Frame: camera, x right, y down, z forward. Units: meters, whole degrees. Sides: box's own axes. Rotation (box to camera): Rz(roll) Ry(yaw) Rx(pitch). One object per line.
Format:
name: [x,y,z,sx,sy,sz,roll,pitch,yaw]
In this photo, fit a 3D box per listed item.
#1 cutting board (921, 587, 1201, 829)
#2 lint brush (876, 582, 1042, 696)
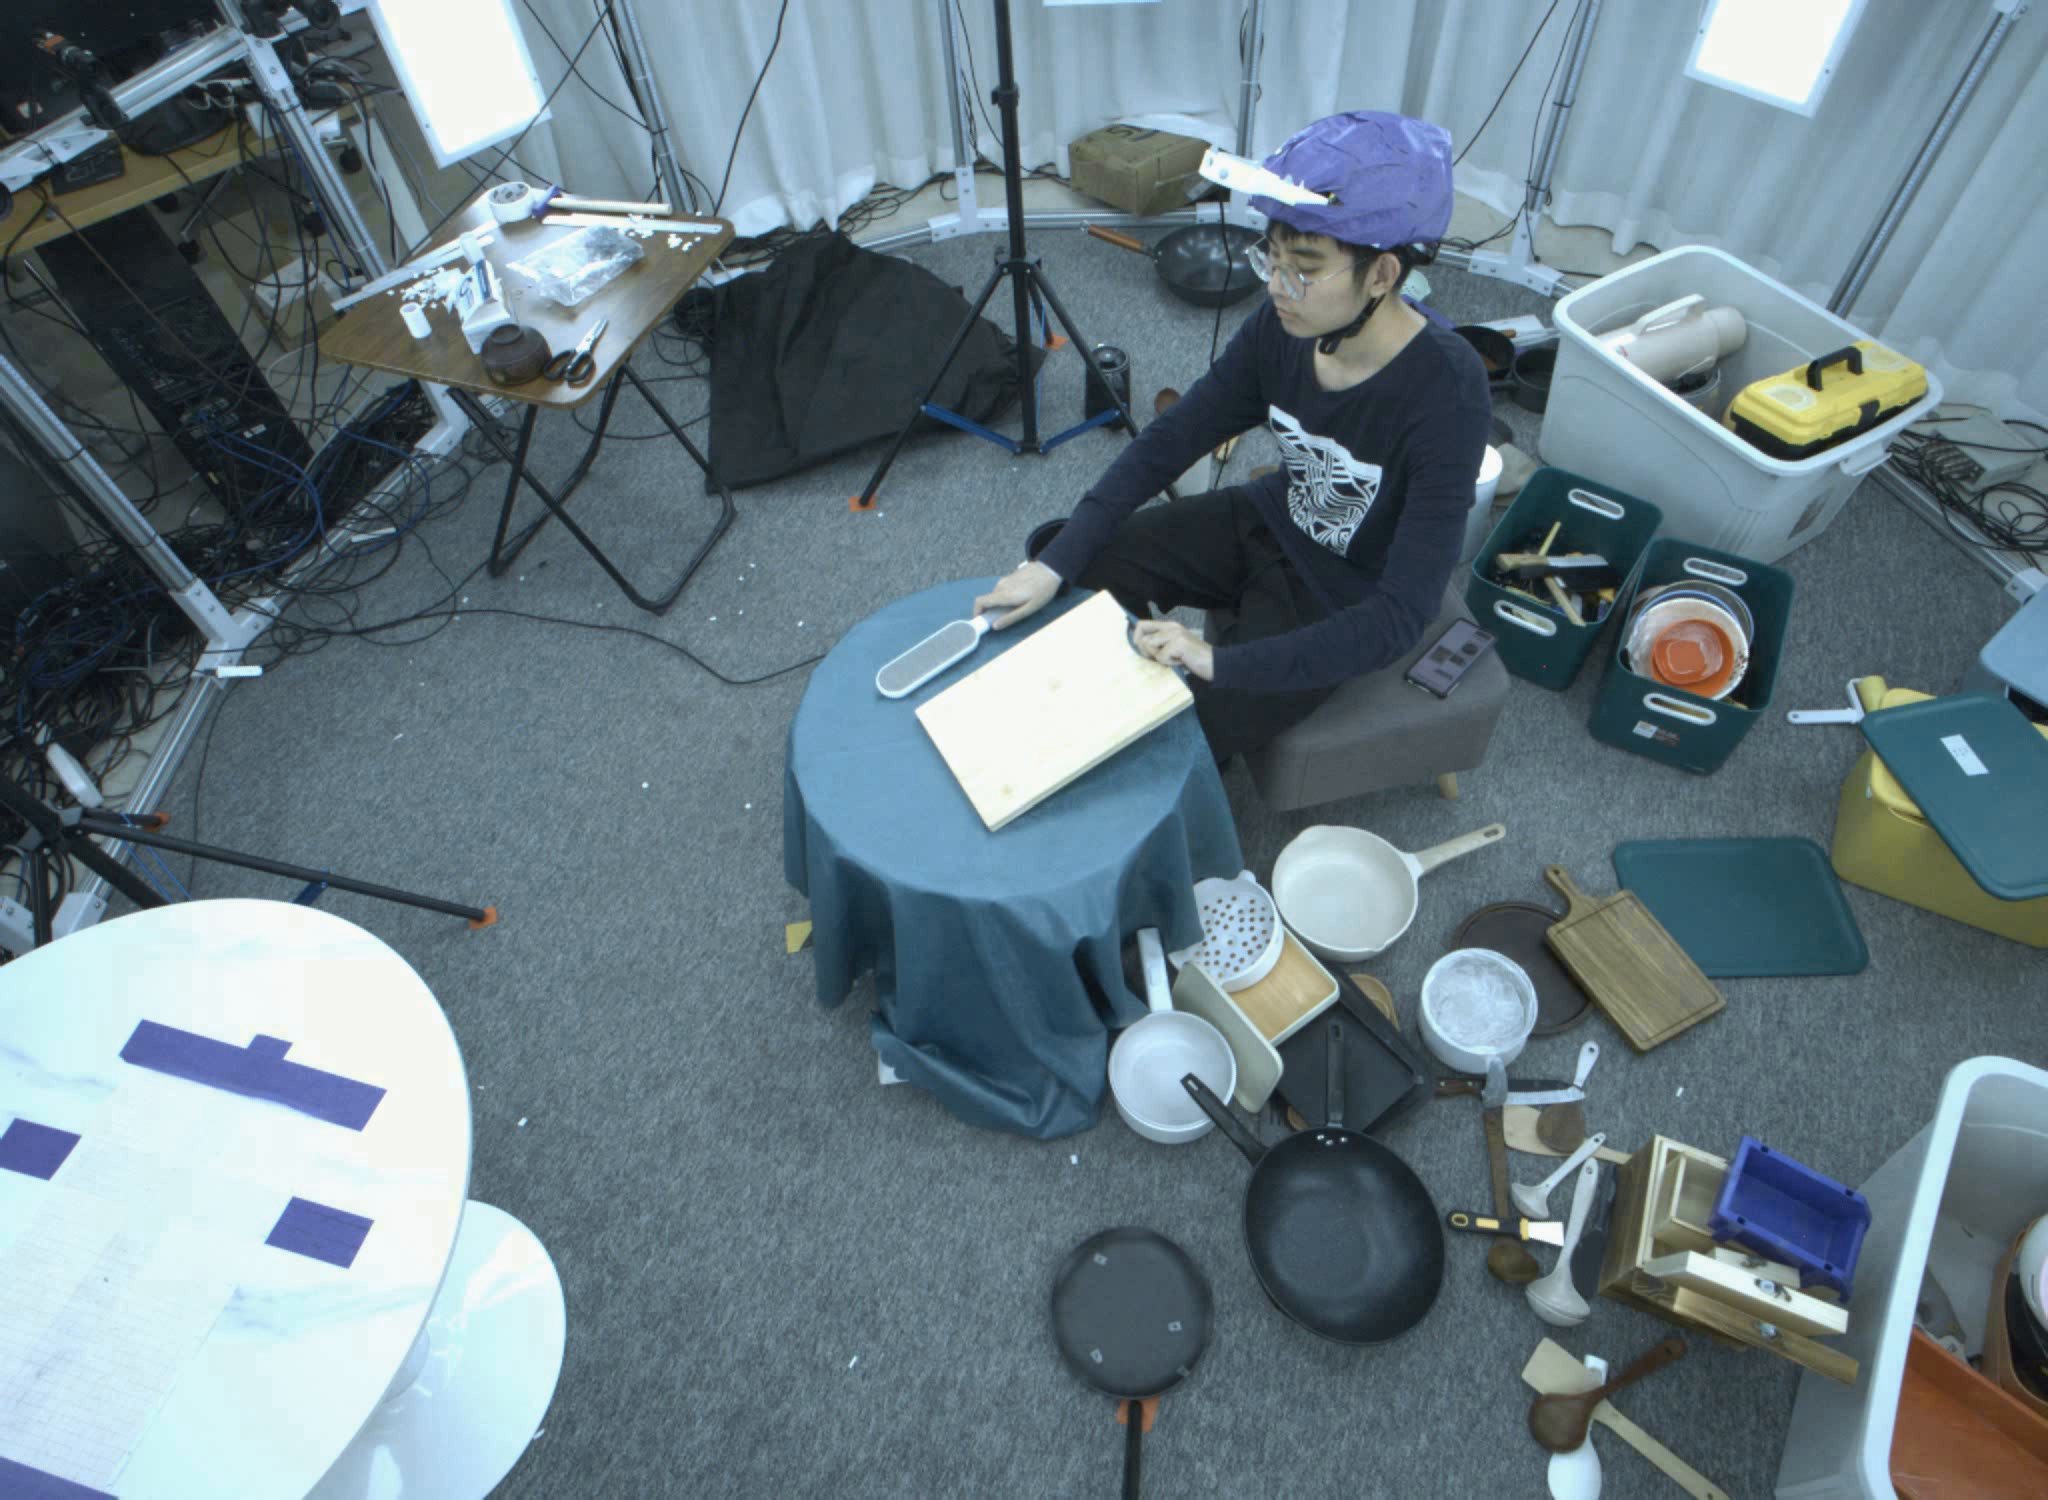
cutting board: [0.045,-0.067,1.781,0.349,0.024,0.246,-33,59,-4]
lint brush: [-0.096,-0.175,1.895,0.311,0.021,0.059,-35,63,-17]
